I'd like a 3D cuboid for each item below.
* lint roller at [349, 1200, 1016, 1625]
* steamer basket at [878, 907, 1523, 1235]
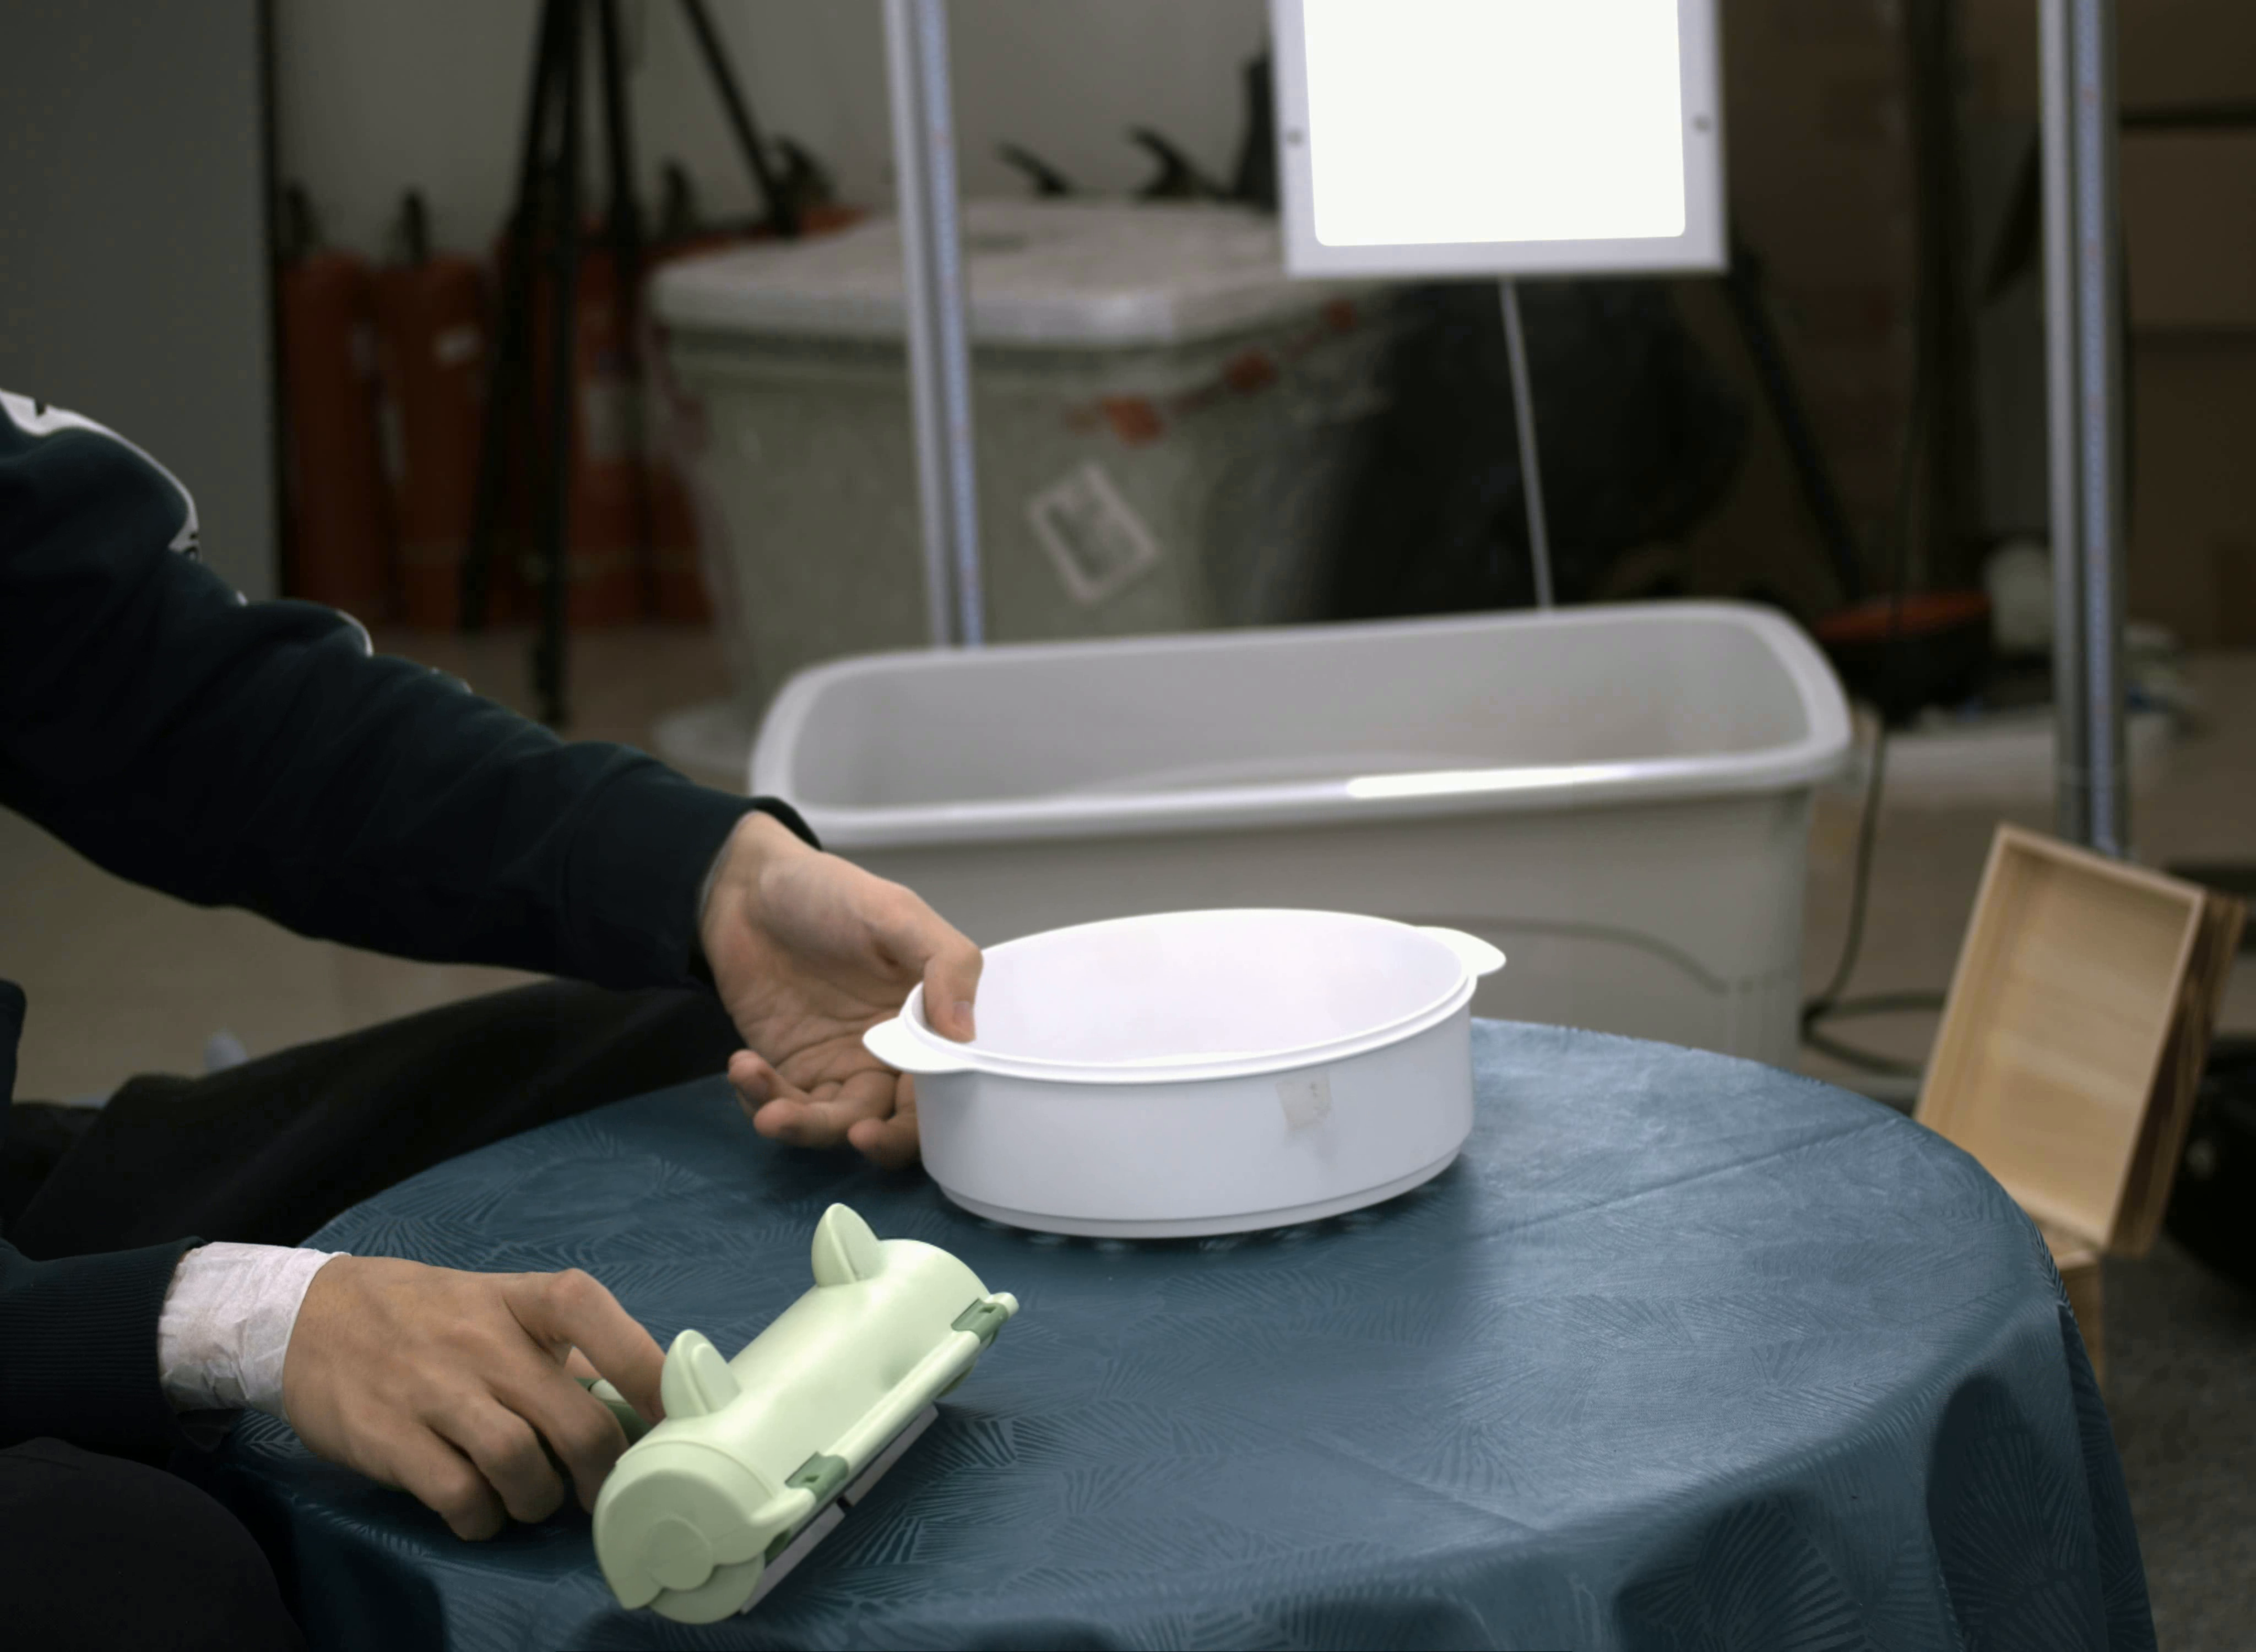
[{"bbox_3d":[-0.148,0.164,1.634,0.185,0.082,0.195,5,16,19],"label":"lint roller"},{"bbox_3d":[0.028,0.085,1.908,0.226,0.069,0.204,-8,15,-19],"label":"steamer basket"}]
